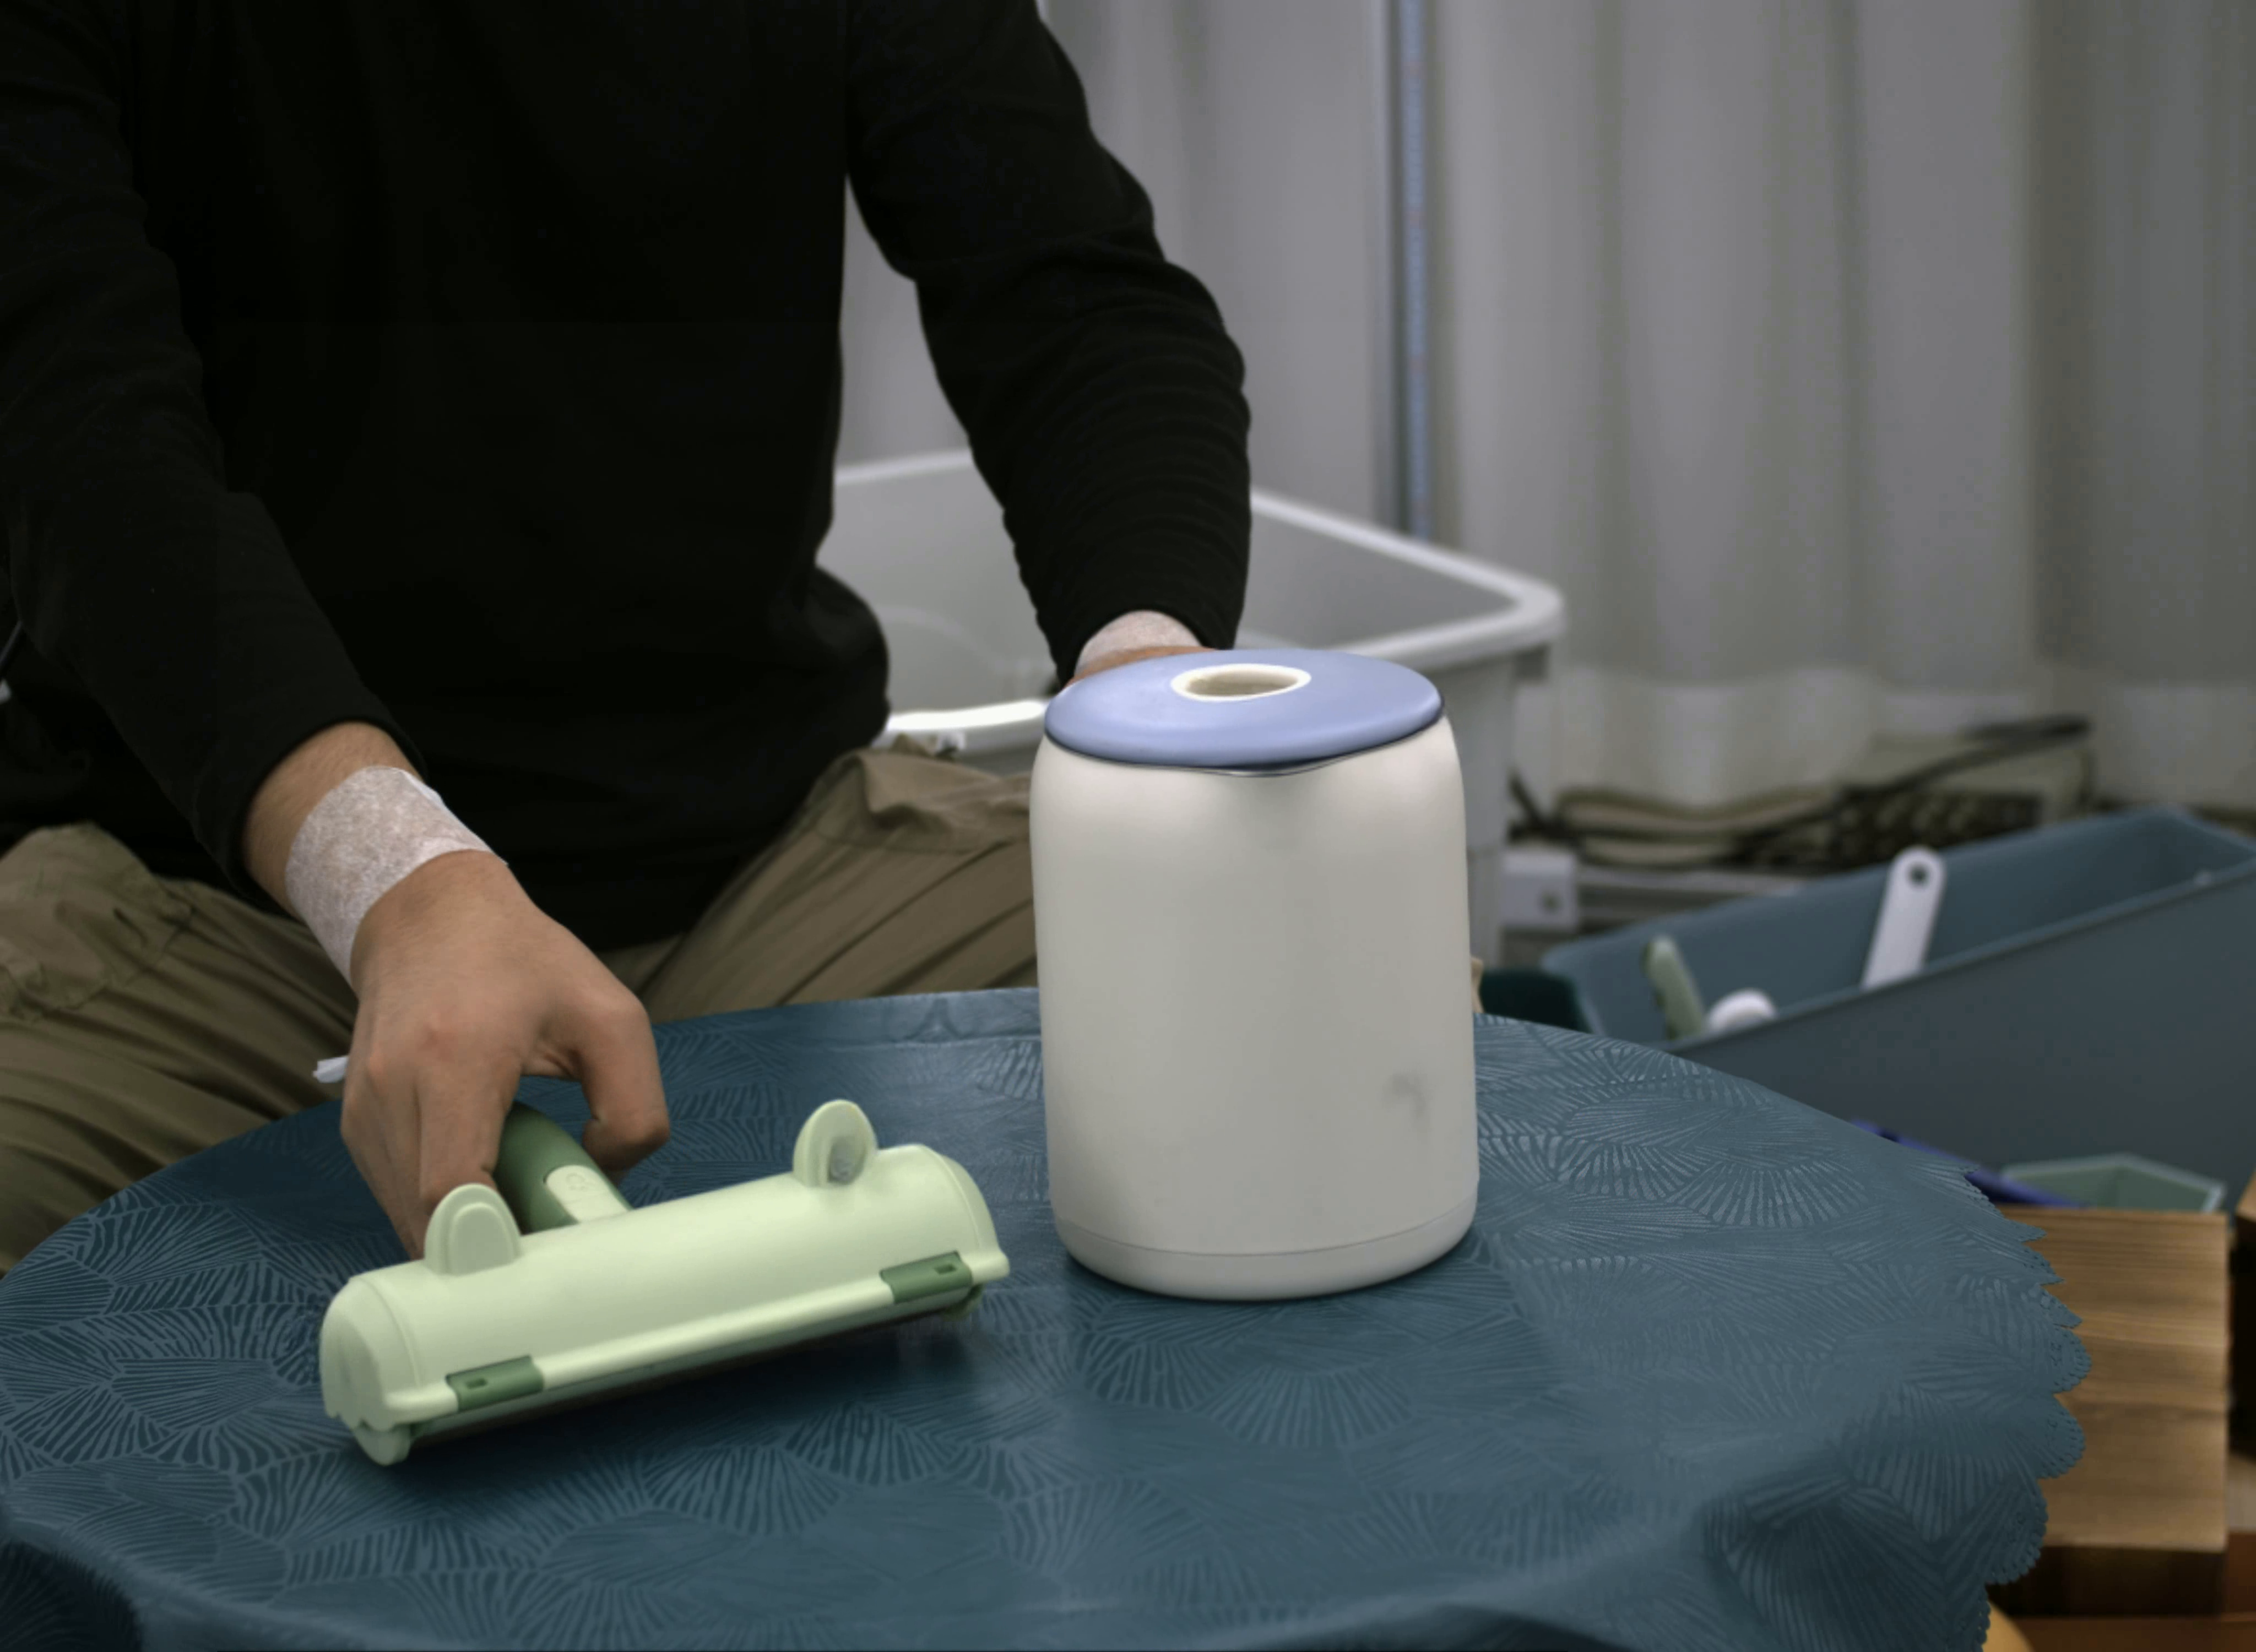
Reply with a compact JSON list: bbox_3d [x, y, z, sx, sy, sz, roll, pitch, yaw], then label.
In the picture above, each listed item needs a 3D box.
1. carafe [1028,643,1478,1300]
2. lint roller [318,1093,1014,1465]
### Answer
[{"bbox_3d":[0.034,0.037,1.668,0.131,0.182,0.192,-4,12,-8],"label":"carafe"},{"bbox_3d":[-0.158,0.104,1.592,0.198,0.081,0.185,-11,33,-29],"label":"lint roller"}]
